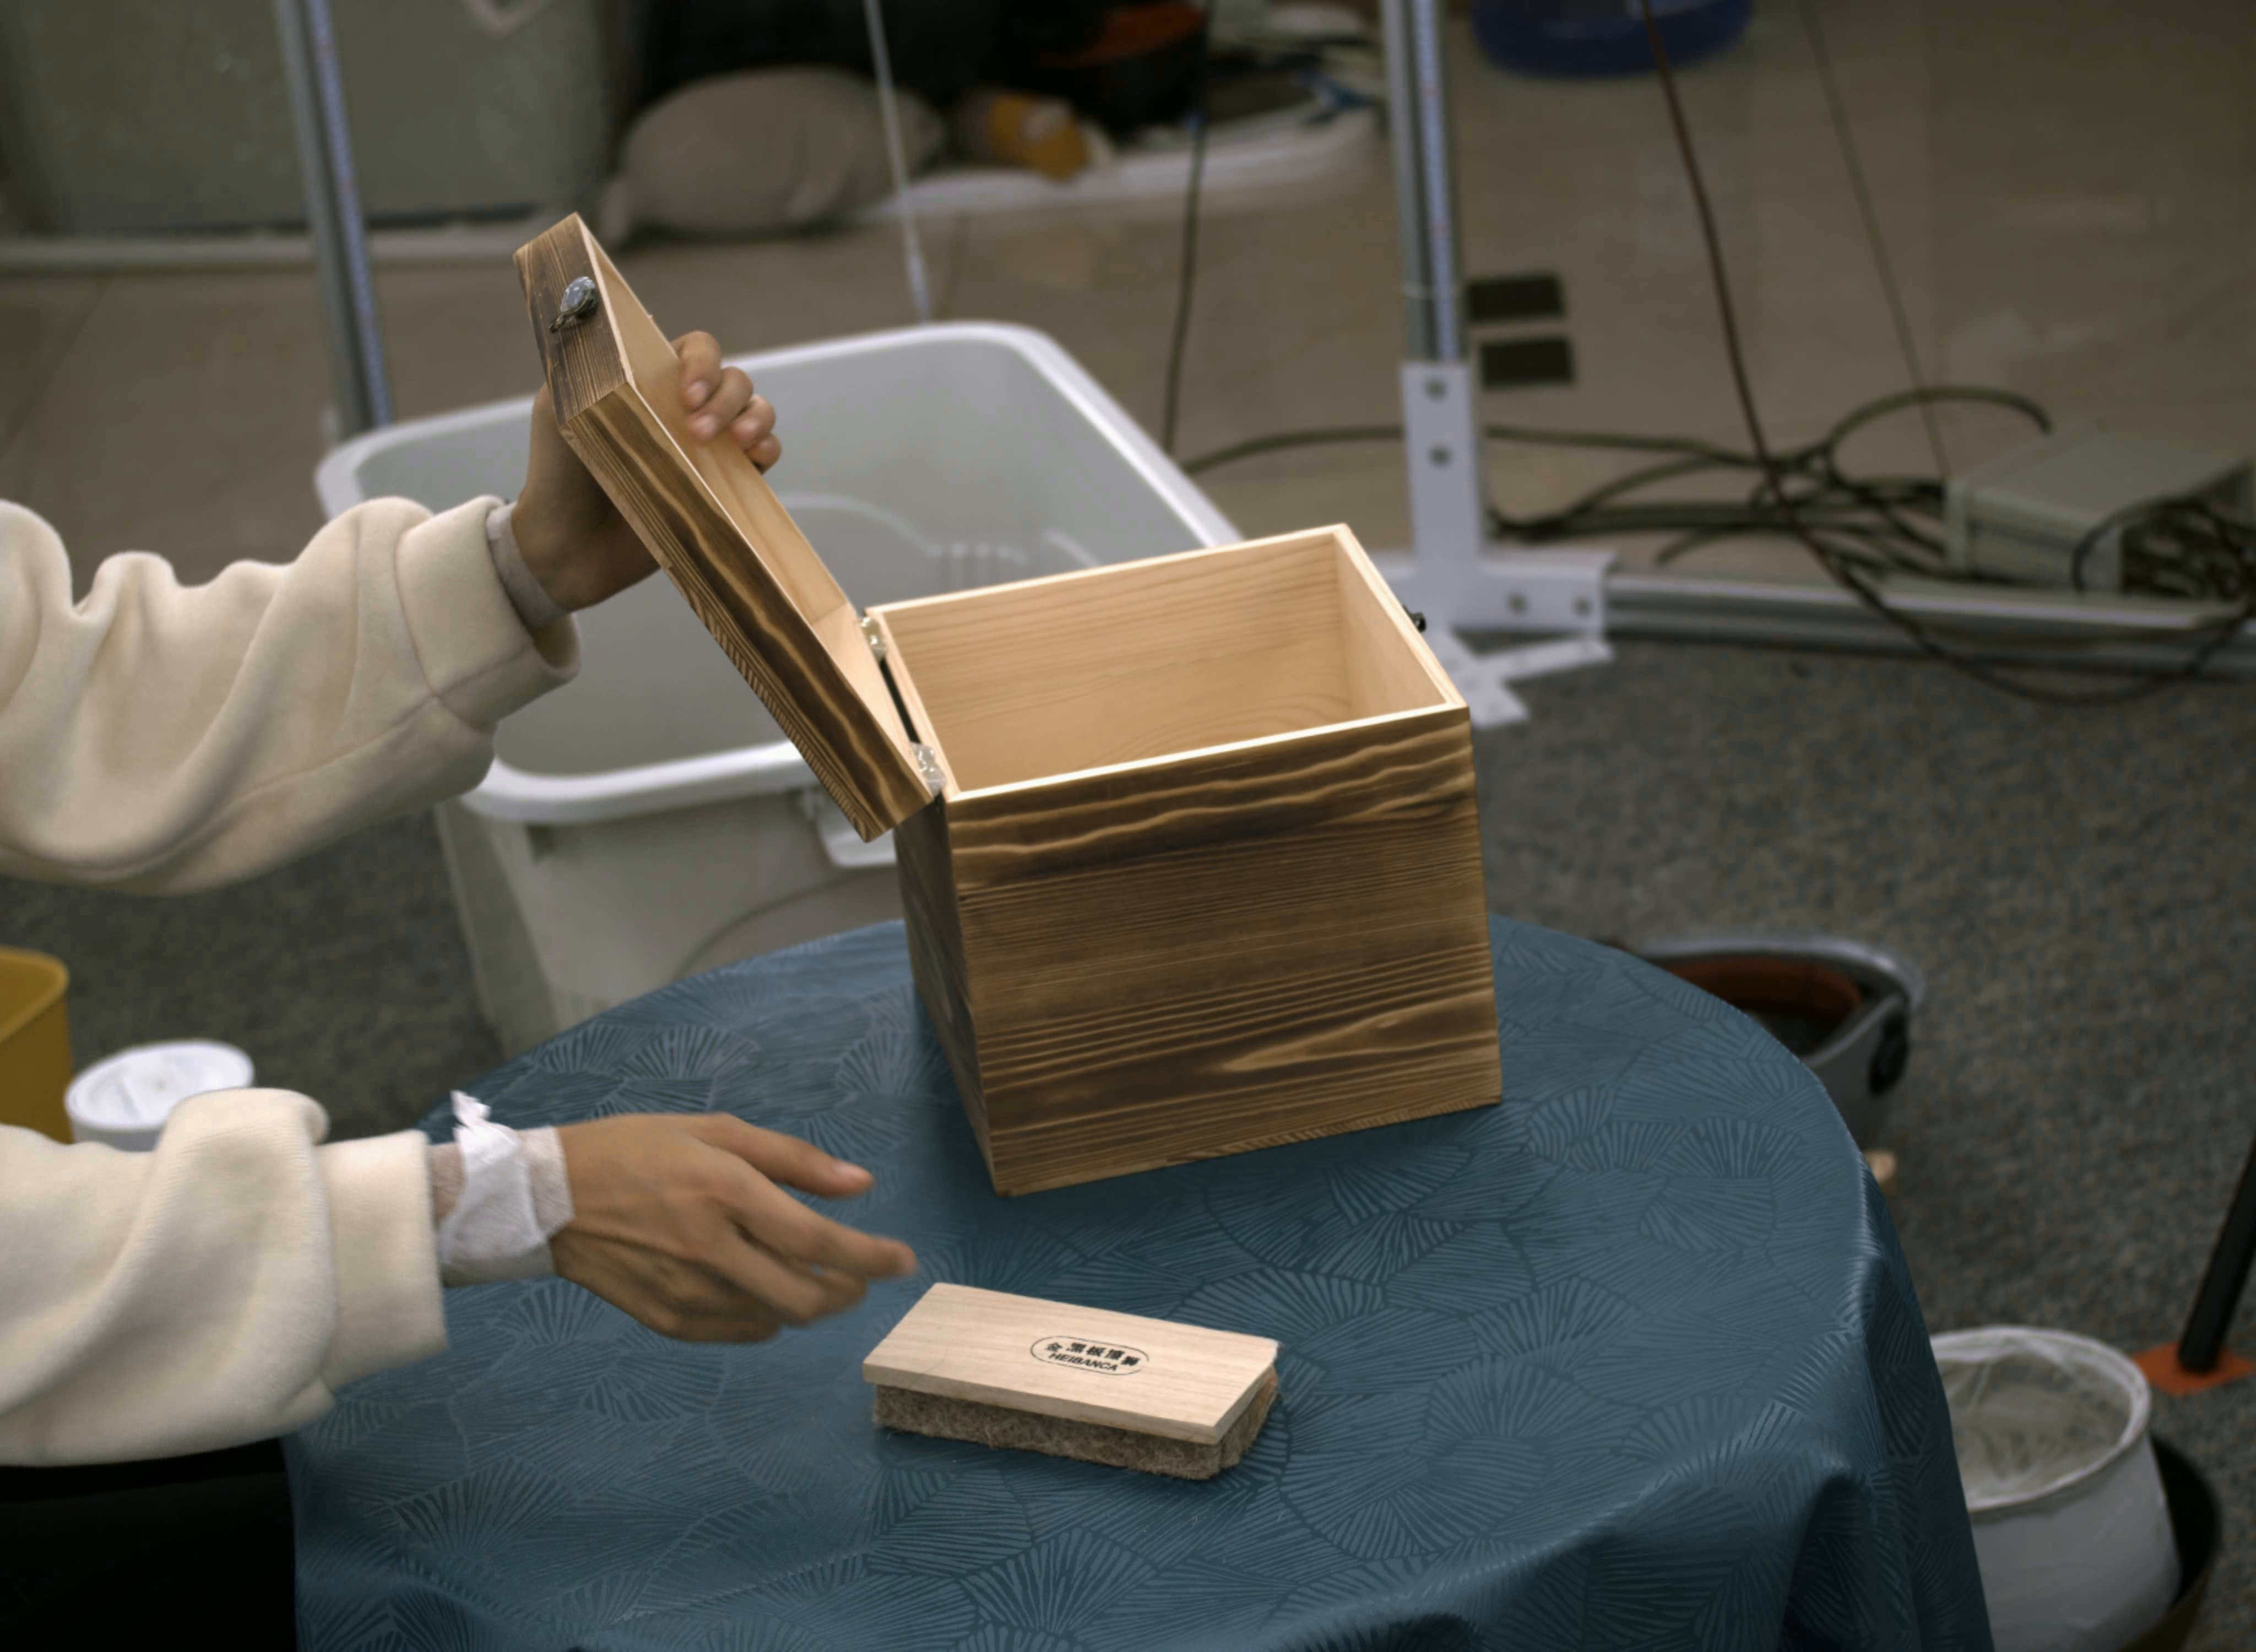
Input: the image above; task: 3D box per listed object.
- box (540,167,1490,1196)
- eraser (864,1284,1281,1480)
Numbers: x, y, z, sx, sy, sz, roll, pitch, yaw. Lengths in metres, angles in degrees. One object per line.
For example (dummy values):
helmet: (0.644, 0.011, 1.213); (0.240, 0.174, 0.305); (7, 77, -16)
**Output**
box: (-0.039, -0.069, 2.163); (0.321, 0.381, 0.206); (-10, 27, -9)
eraser: (-0.019, 0.196, 1.996); (0.139, 0.029, 0.056); (7, 30, 28)
